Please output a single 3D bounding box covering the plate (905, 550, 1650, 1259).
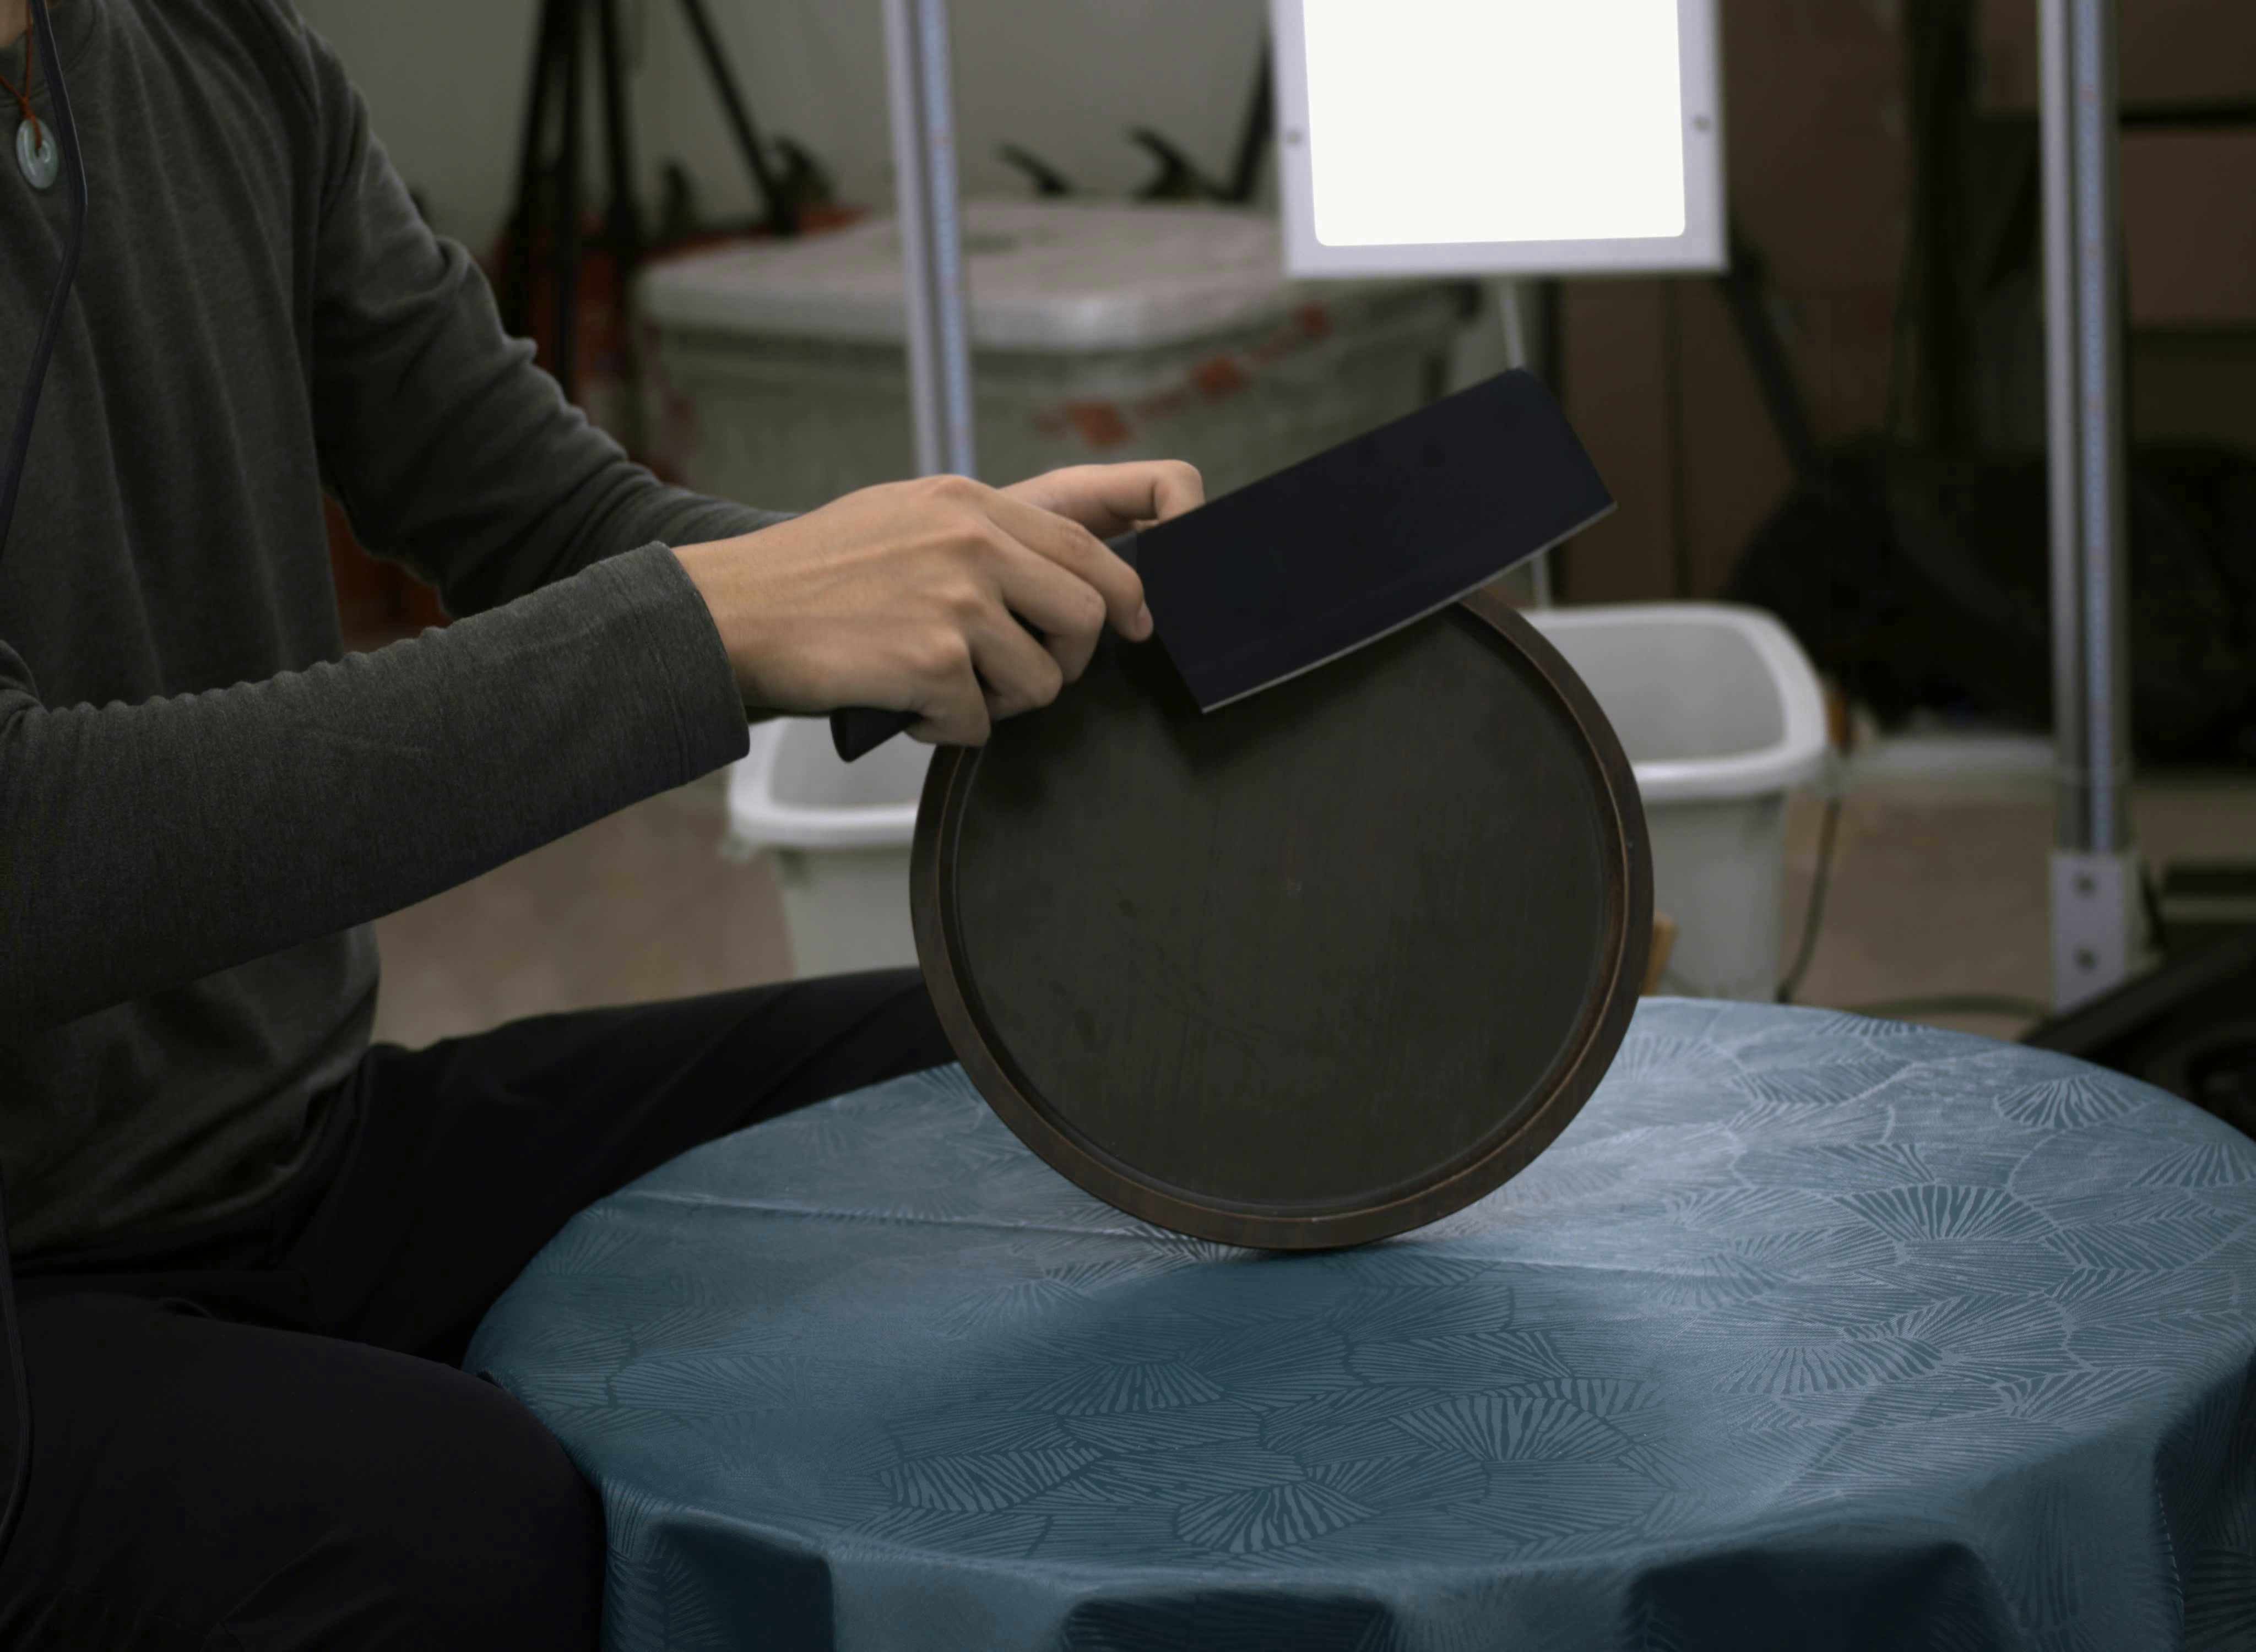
[{"bbox_3d":[0.051,0.023,1.855,0.253,0.255,0.029,-6,-14,-4],"label":"plate"}]

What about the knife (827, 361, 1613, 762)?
[{"bbox_3d":[0.031,-0.081,1.847,0.297,0.081,0.021,-20,-14,-21],"label":"knife"}]
